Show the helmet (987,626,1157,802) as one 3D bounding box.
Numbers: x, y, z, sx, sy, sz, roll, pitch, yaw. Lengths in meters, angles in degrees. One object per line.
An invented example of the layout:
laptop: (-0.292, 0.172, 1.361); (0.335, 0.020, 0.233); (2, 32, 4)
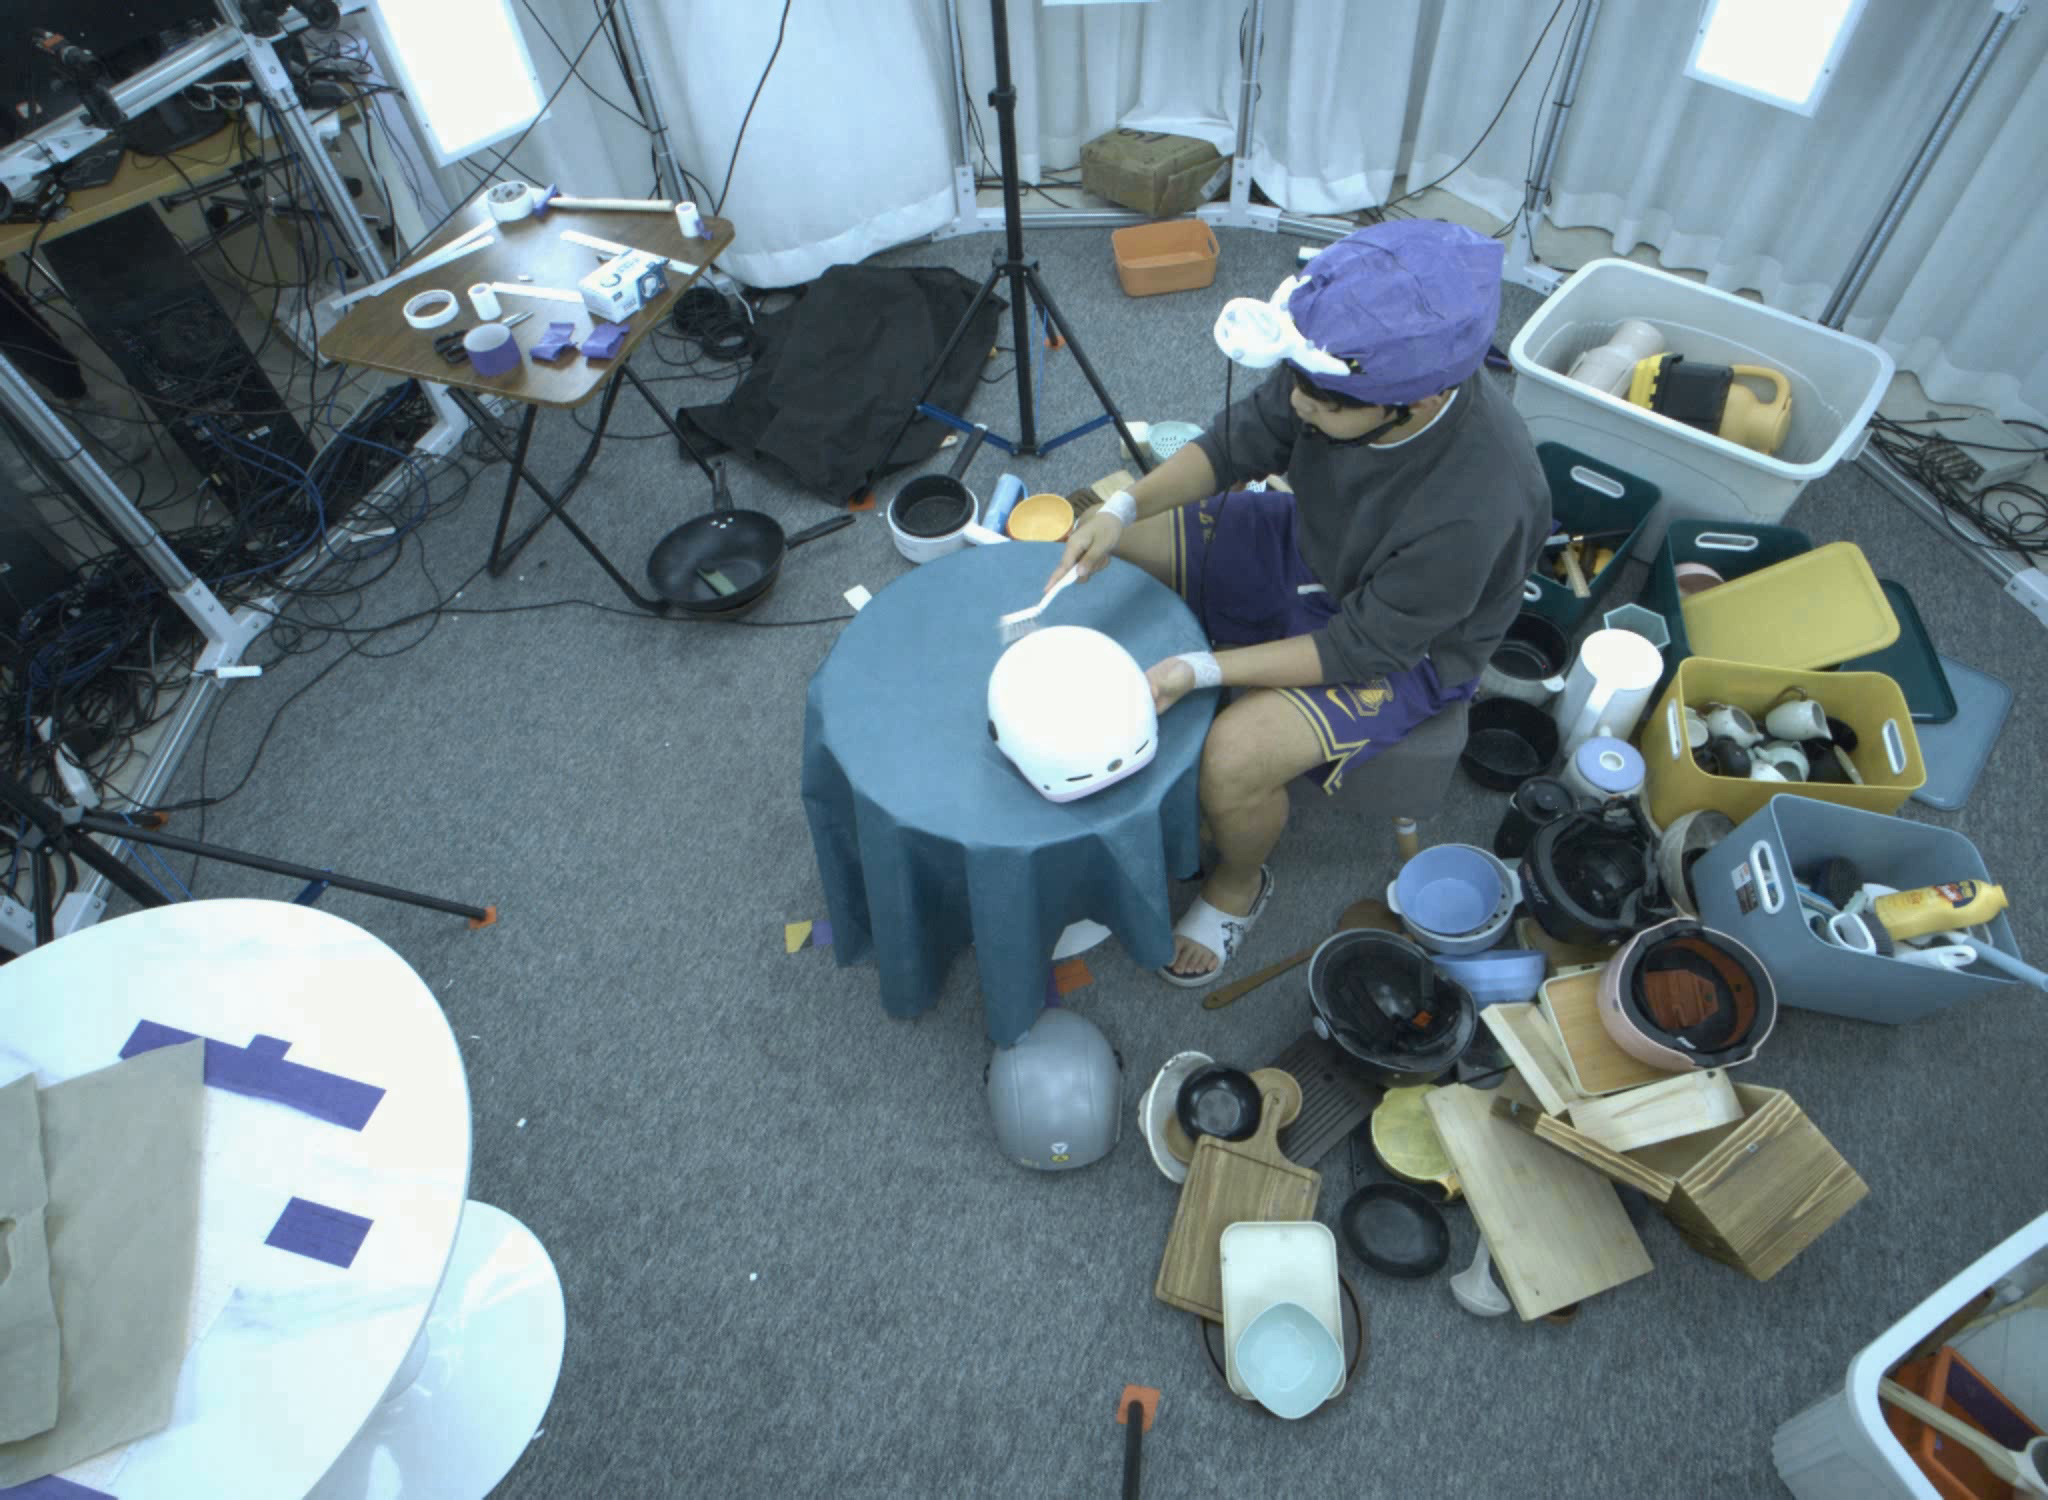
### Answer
helmet: (0.061, -0.076, 1.736); (0.238, 0.169, 0.264); (-25, 57, -11)

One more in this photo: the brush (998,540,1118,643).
brush: (0.060, -0.233, 1.822); (0.245, 0.034, 0.050); (-37, 92, -21)
